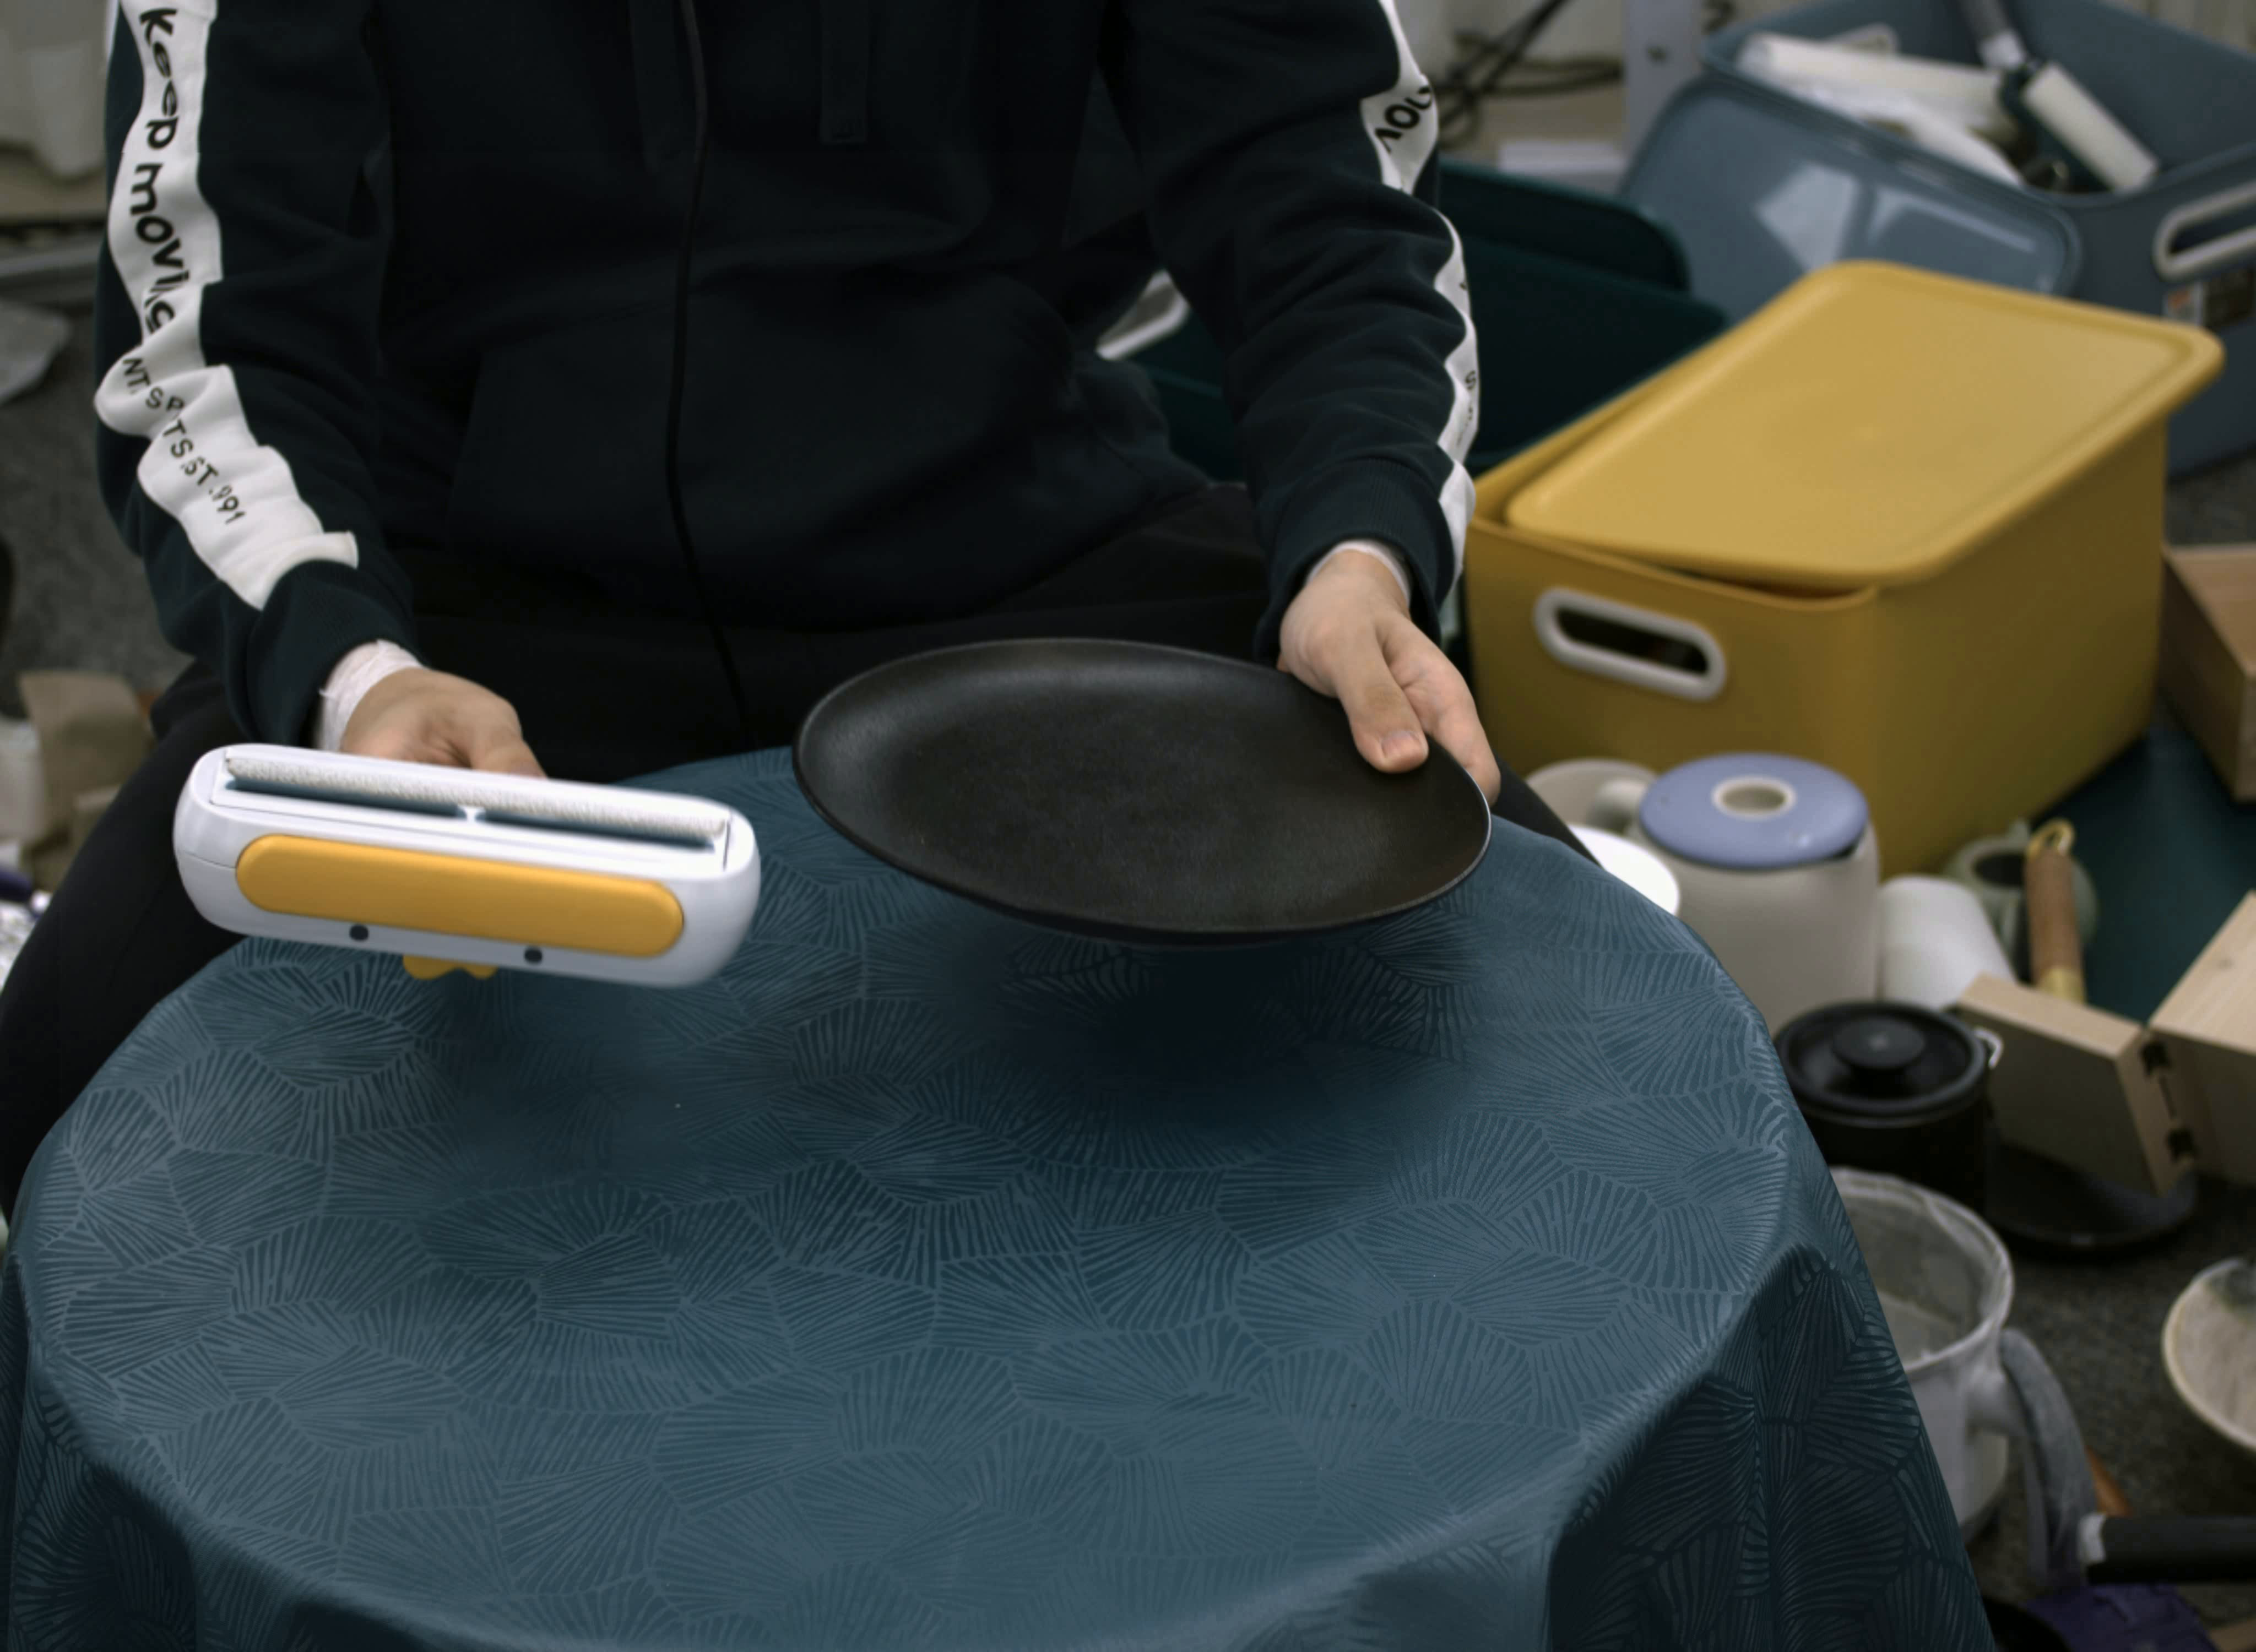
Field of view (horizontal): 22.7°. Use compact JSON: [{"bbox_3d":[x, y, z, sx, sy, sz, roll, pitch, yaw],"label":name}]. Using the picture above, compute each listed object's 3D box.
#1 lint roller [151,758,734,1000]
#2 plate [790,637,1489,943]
[{"bbox_3d":[-0.224,0.020,1.913,0.192,0.074,0.193,5,4,2],"label":"lint roller"},{"bbox_3d":[0.003,-0.008,1.941,0.243,0.023,0.248,6,24,-2],"label":"plate"}]
